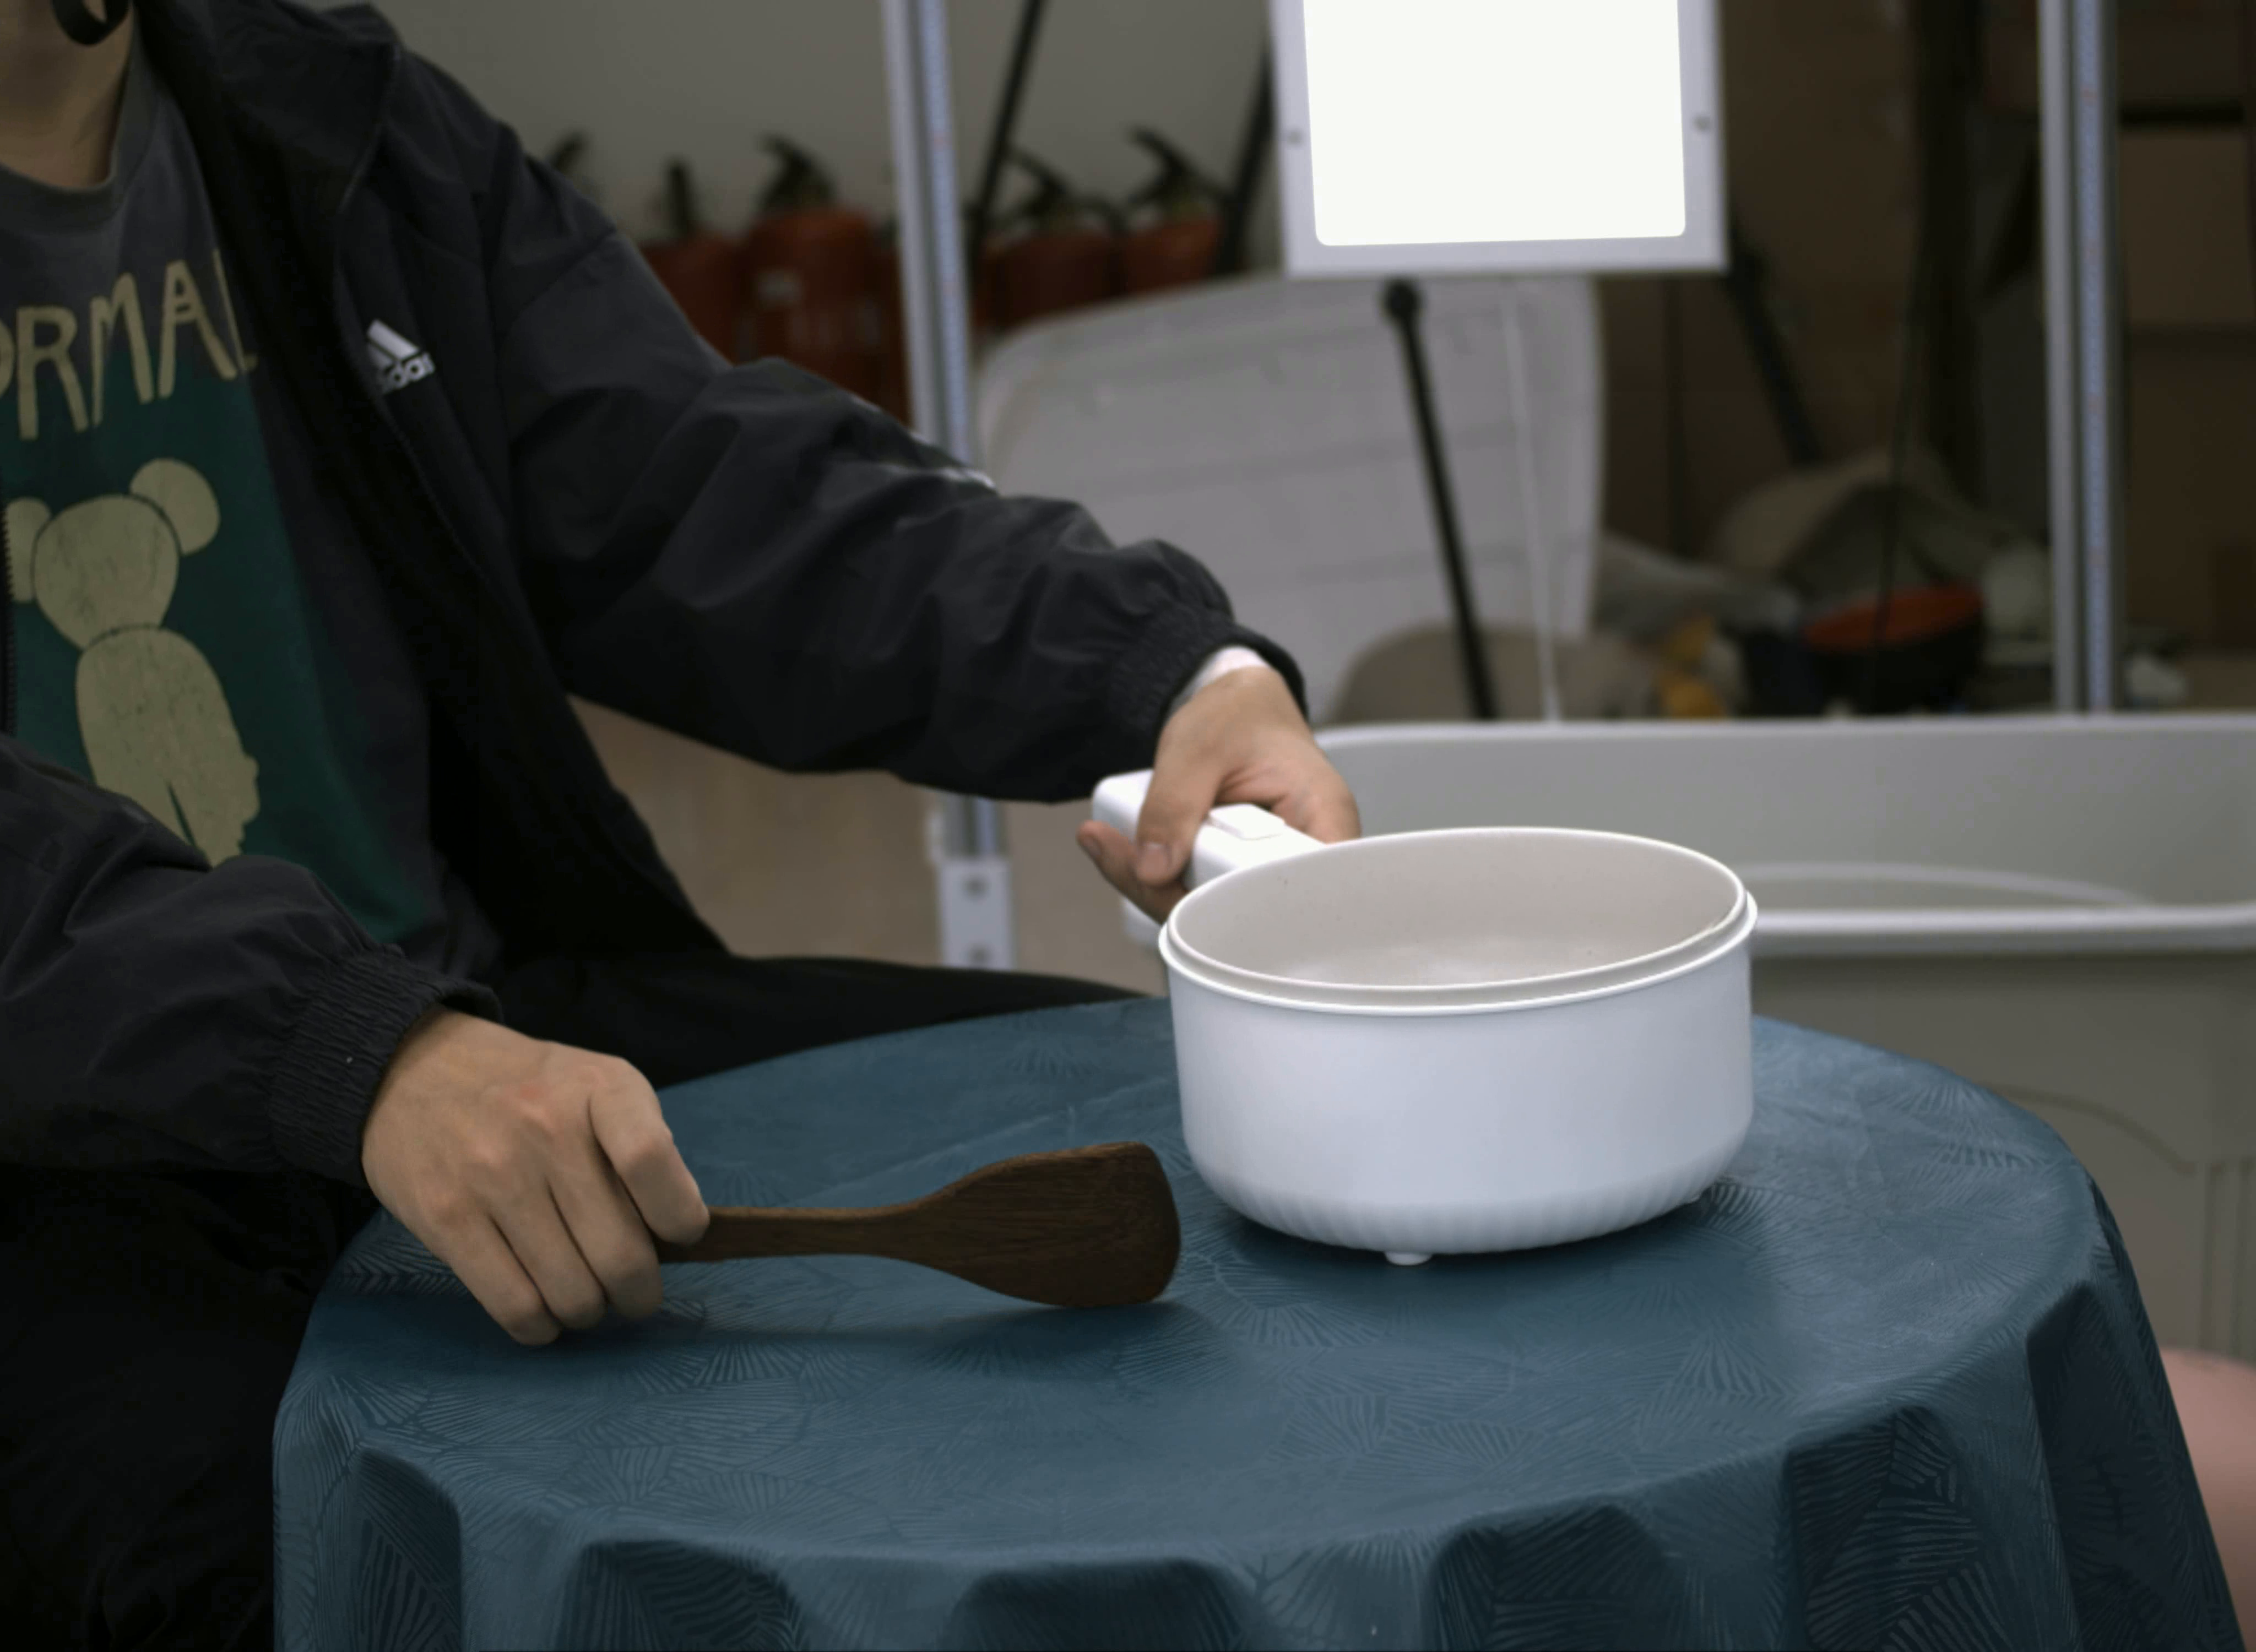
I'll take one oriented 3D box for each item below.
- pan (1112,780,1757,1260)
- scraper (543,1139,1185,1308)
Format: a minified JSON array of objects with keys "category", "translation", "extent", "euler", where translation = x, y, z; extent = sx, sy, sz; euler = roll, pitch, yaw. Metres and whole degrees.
[{"category":"pan","translation":[0.083,0.061,1.922],"extent":[0.197,0.102,0.360],"euler":[-11,14,-22]},{"category":"scraper","translation":[-0.087,0.132,1.777],"extent":[0.213,0.076,0.011],"euler":[-3,45,15]}]
